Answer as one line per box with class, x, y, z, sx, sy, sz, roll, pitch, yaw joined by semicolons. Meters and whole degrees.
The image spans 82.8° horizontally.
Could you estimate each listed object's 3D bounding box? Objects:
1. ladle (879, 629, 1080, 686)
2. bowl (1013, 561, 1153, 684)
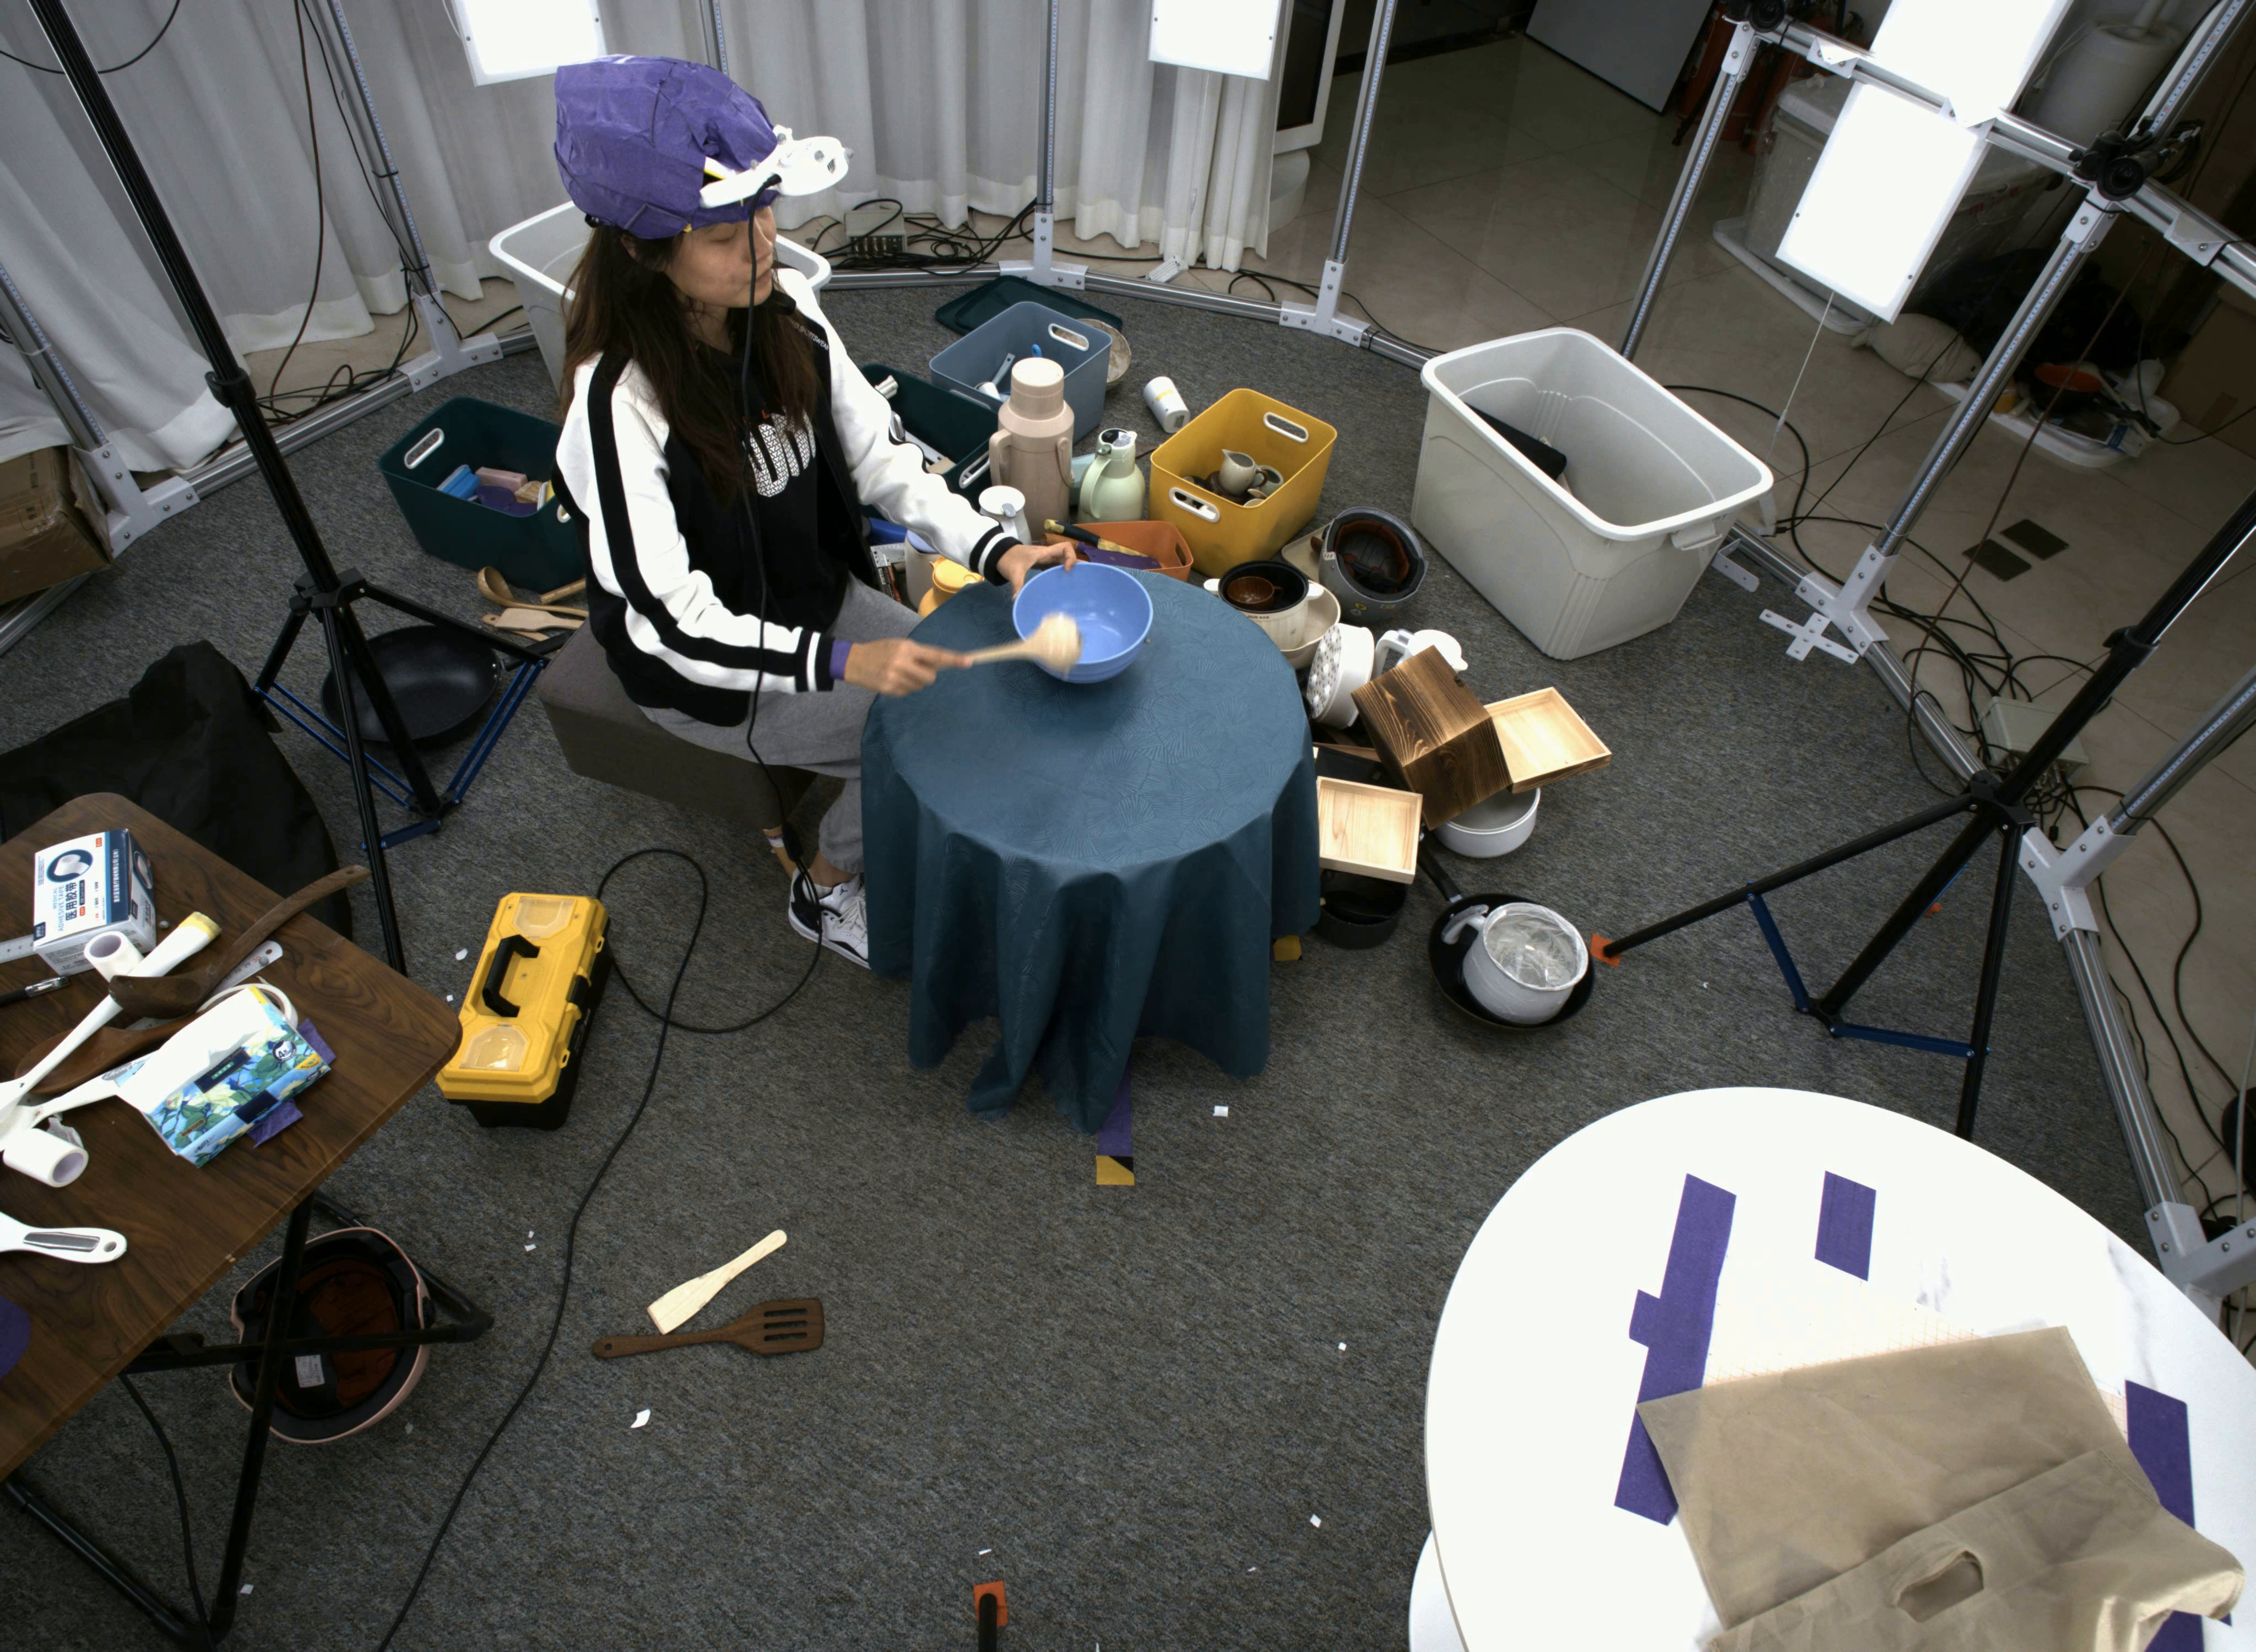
ladle;-0.186;-0.205;1.644;0.254;0.072;0.073;-4;4;15
bowl;-0.063;-0.275;1.840;0.196;0.093;0.201;0;55;0
